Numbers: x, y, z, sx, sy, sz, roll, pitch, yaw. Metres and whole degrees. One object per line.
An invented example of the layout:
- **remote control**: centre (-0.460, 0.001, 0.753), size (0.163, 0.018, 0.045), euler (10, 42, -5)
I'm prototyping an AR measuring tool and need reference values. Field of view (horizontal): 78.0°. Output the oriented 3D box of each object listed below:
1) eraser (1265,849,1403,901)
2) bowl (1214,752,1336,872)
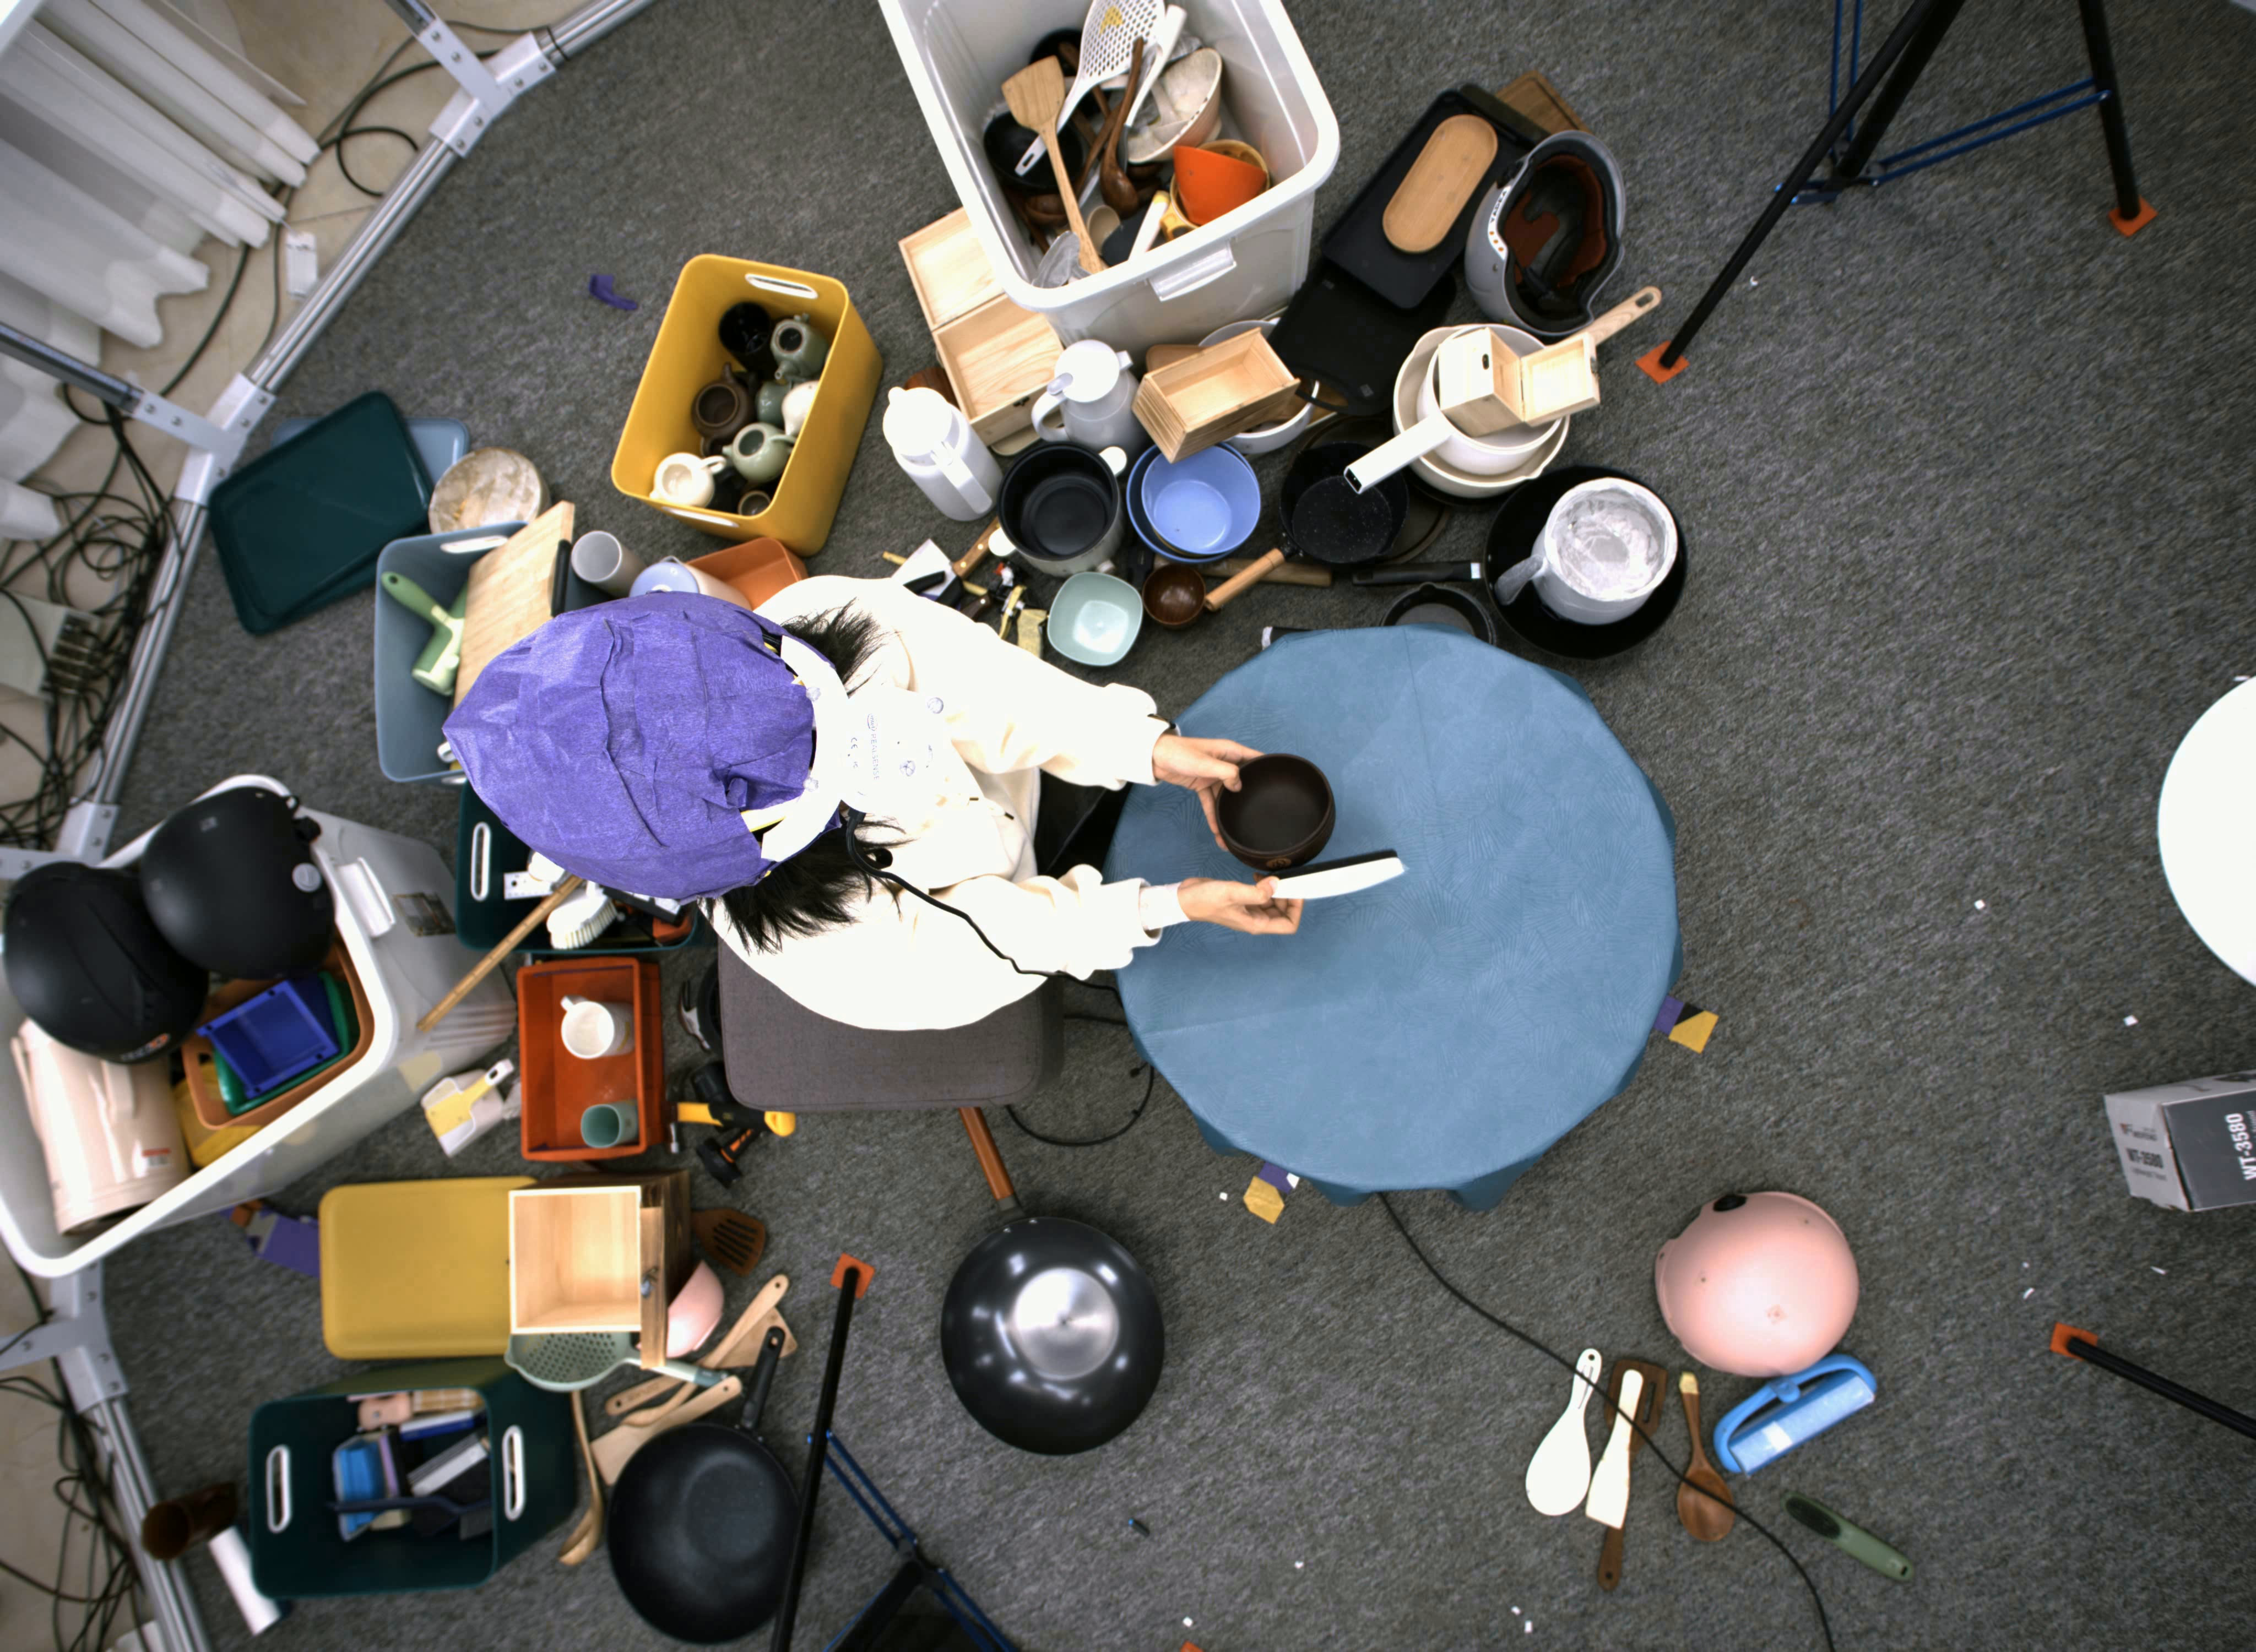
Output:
- **eraser**: centre (0.198, 0.050, 1.335), size (0.132, 0.063, 0.034), euler (-12, 83, 14)
- **bowl**: centre (0.148, -0.007, 1.364), size (0.119, 0.071, 0.115), euler (-9, 58, 13)
